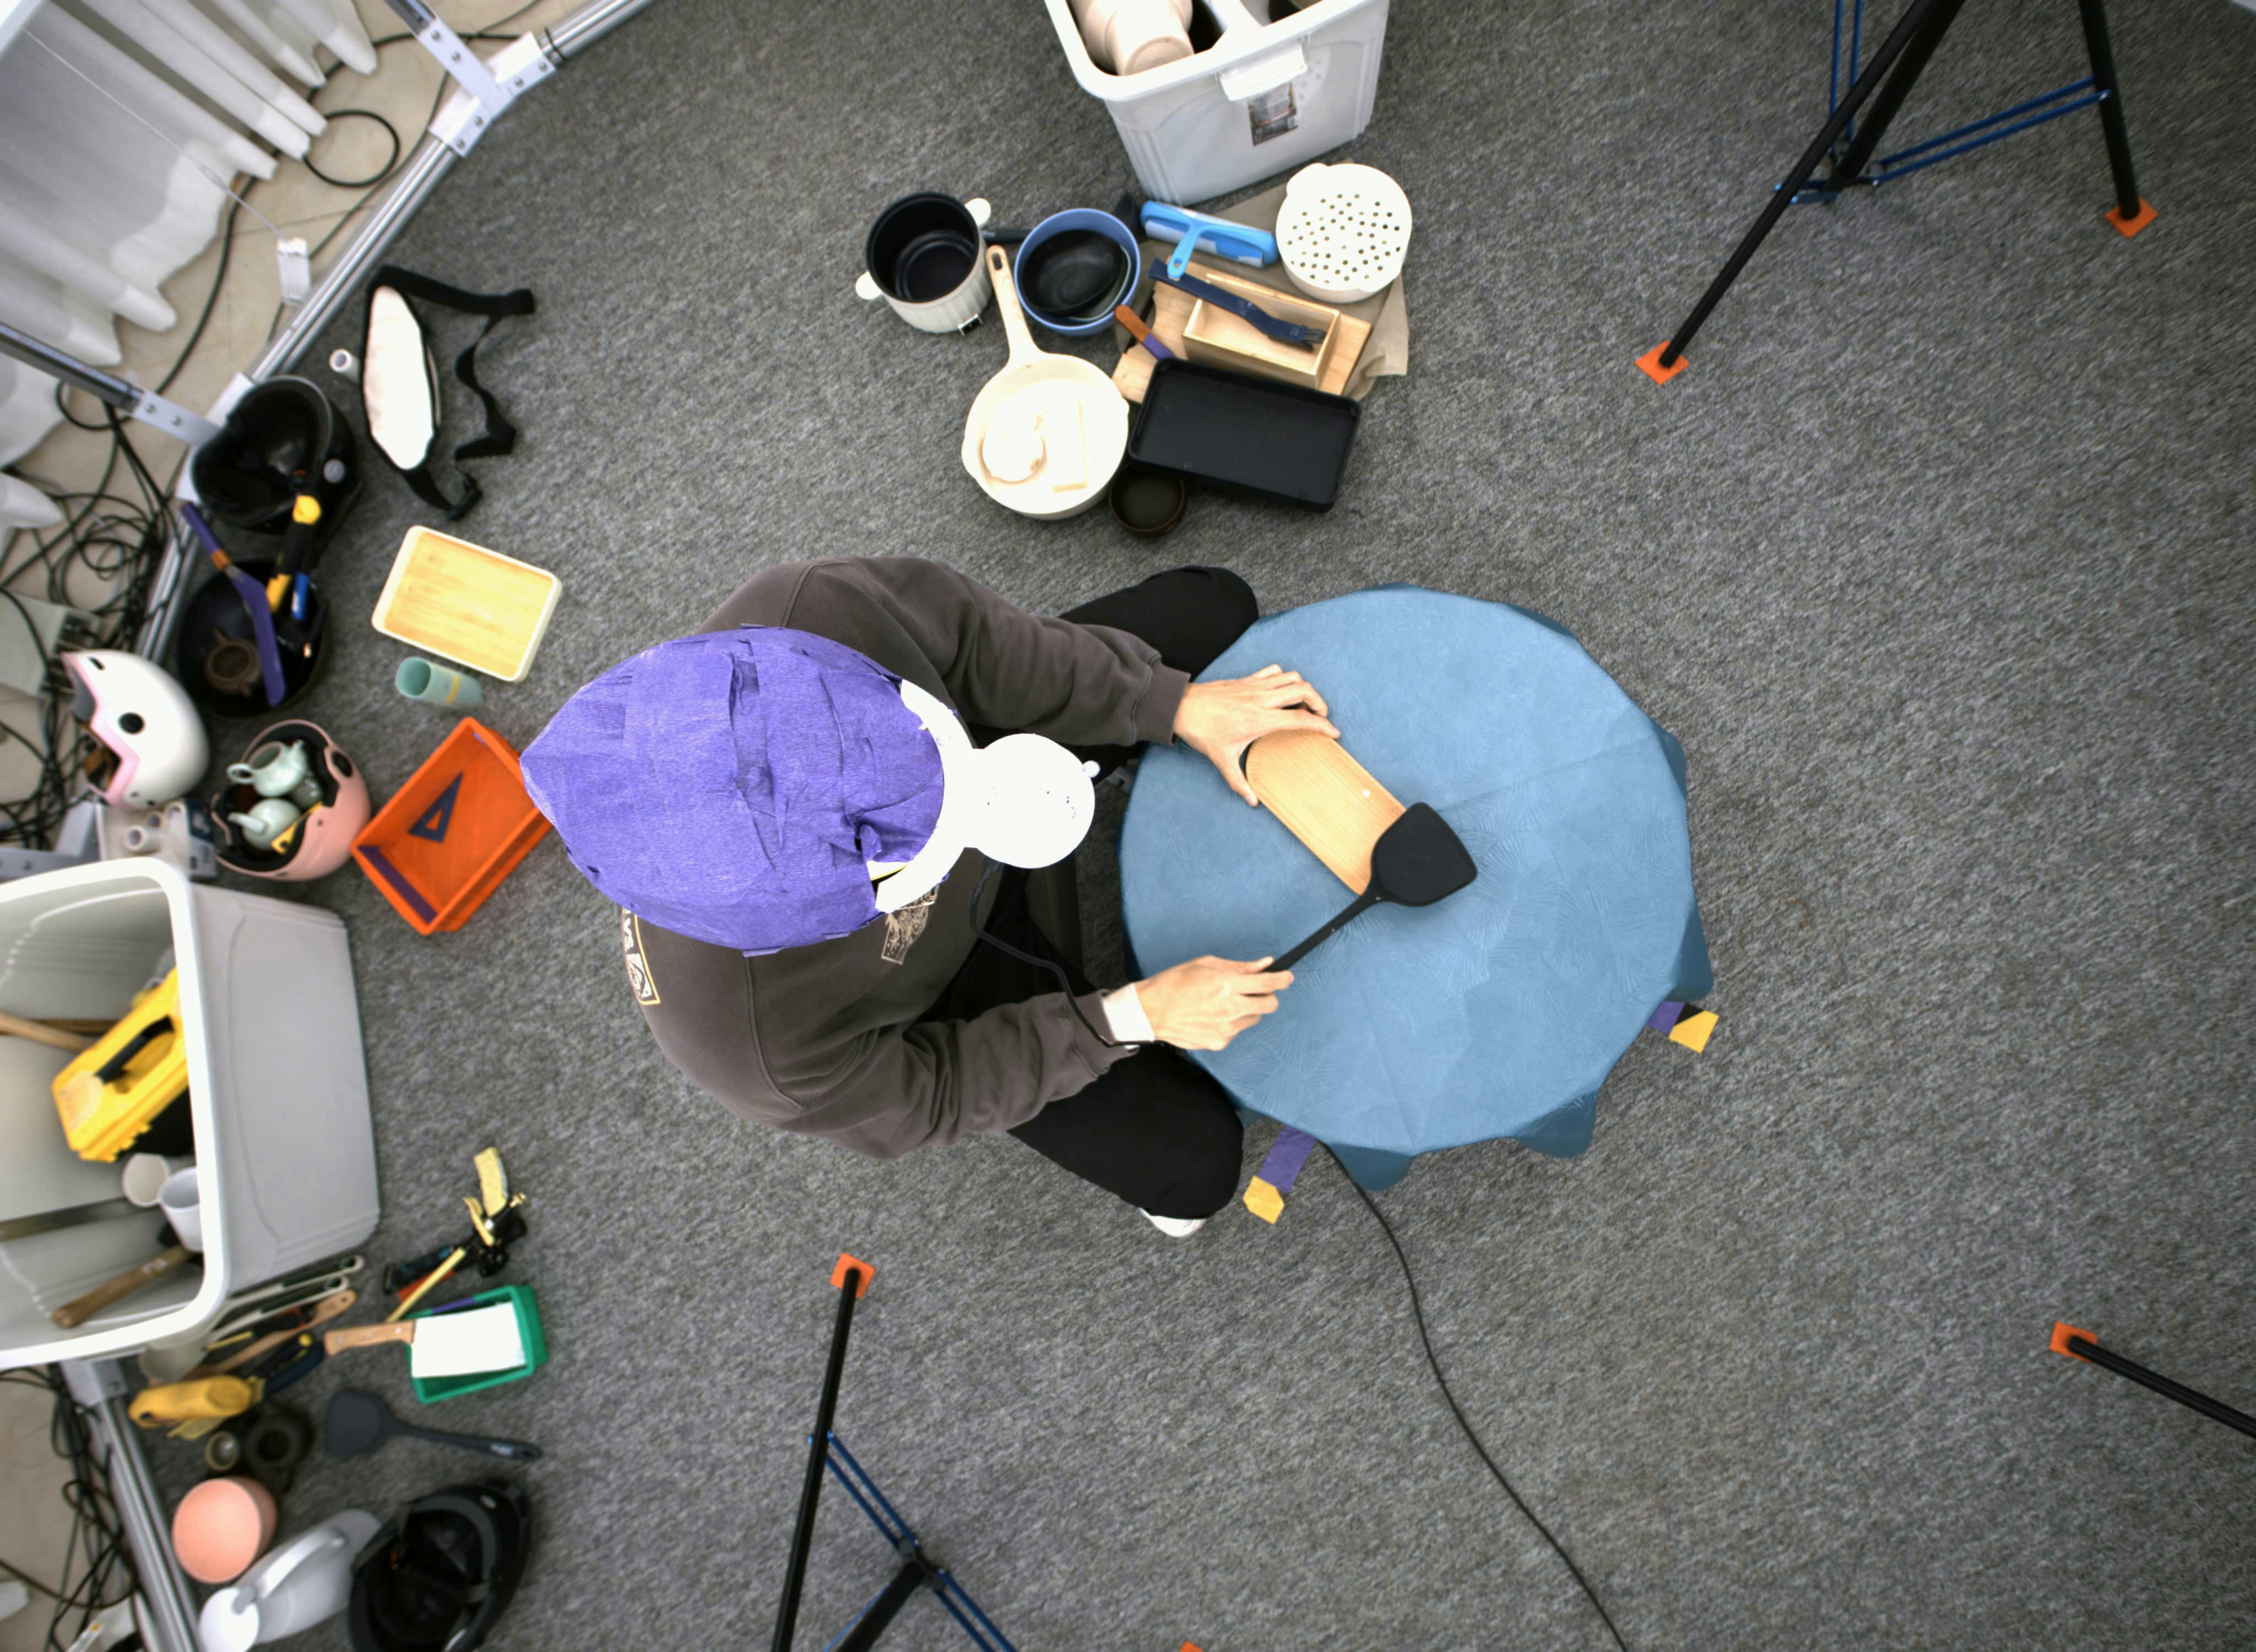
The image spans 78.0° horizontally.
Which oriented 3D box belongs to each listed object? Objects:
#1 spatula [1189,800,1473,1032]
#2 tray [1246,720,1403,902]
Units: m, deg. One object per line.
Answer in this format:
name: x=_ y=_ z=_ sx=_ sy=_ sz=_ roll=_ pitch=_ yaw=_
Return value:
spatula: x=0.192 y=0.103 z=1.377 sx=0.325 sy=0.040 sz=0.099 roll=-36 pitch=87 yaw=-6
tray: x=0.222 y=-0.018 z=1.462 sx=0.230 sy=0.020 sz=0.102 roll=45 pitch=97 yaw=8
